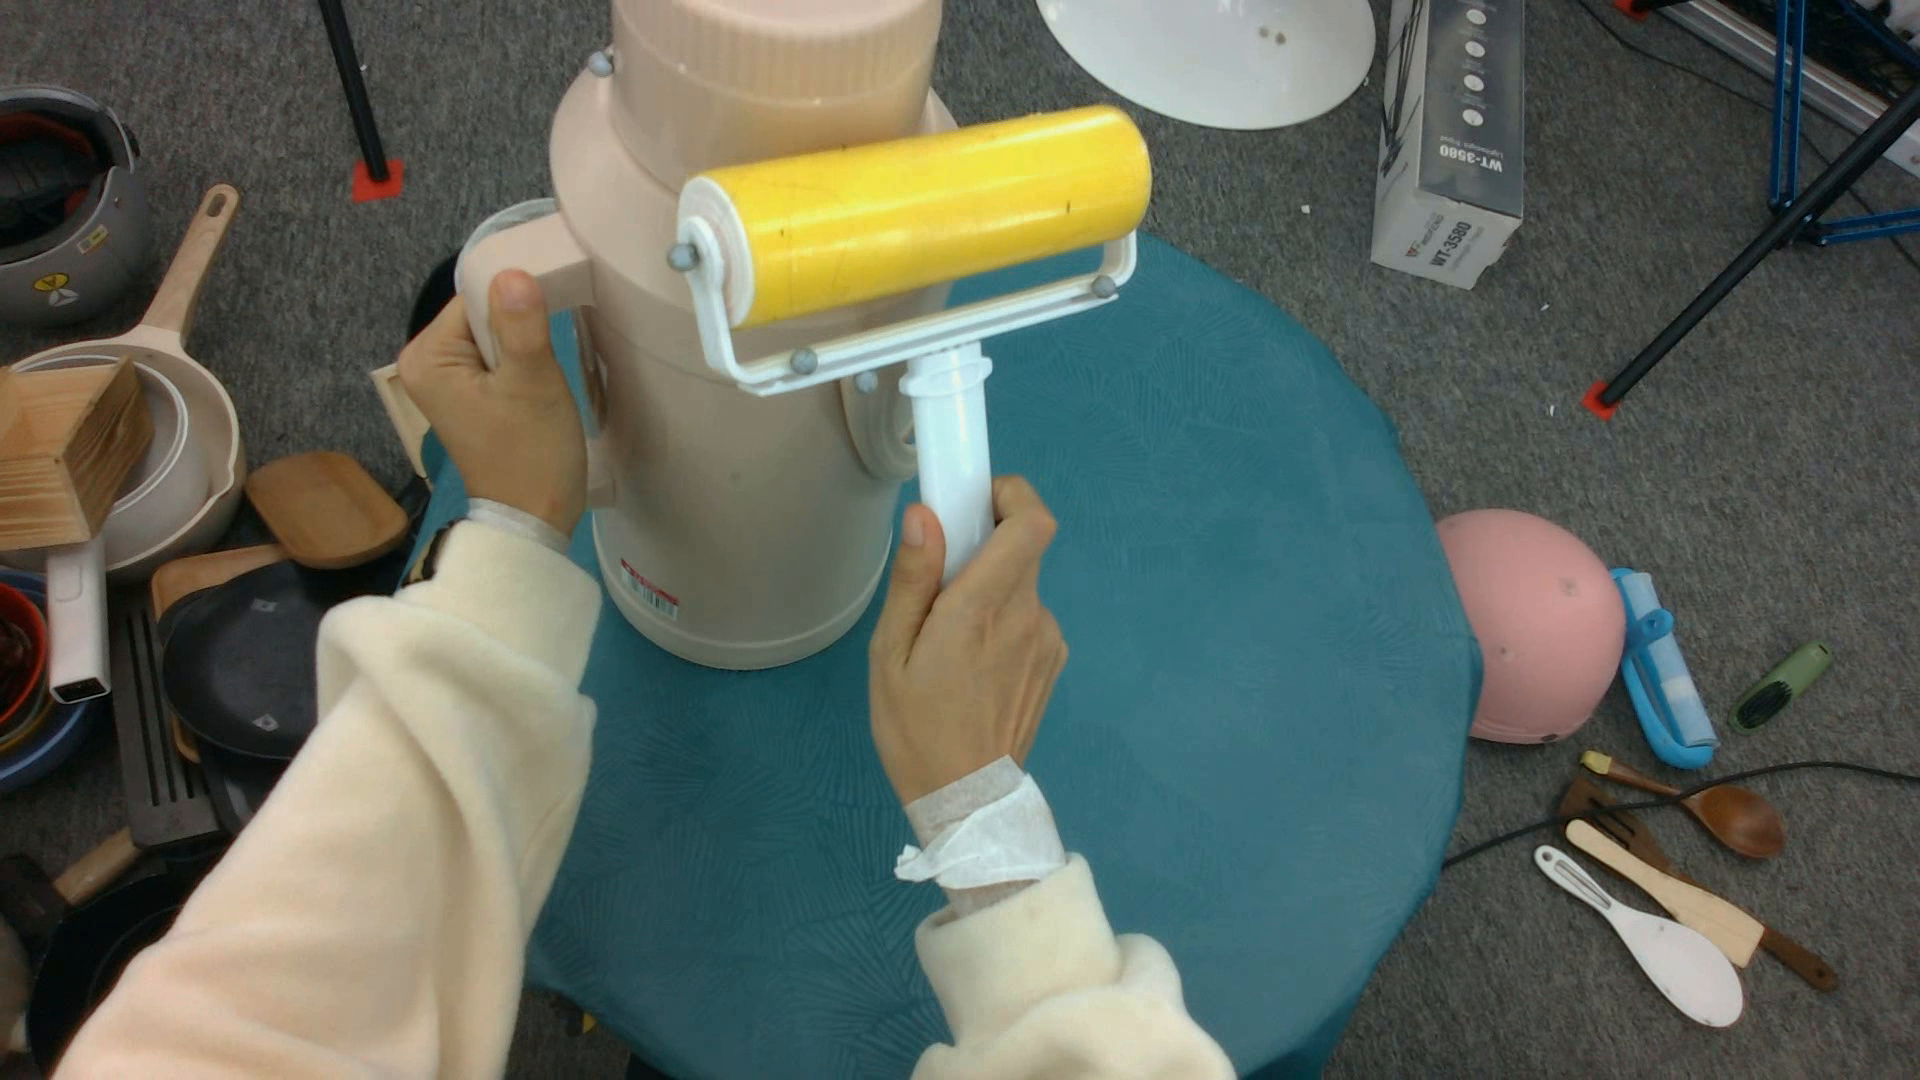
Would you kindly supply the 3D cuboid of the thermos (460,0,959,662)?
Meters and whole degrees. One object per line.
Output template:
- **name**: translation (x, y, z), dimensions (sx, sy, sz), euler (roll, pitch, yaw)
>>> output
- **thermos**: translation (-0.101, -0.093, 0.595), dimensions (0.208, 0.404, 0.175), euler (-26, 70, -23)

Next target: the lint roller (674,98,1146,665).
- **lint roller**: translation (0.004, -0.044, 0.479), dimensions (0.175, 0.051, 0.191), euler (-22, 105, -32)
